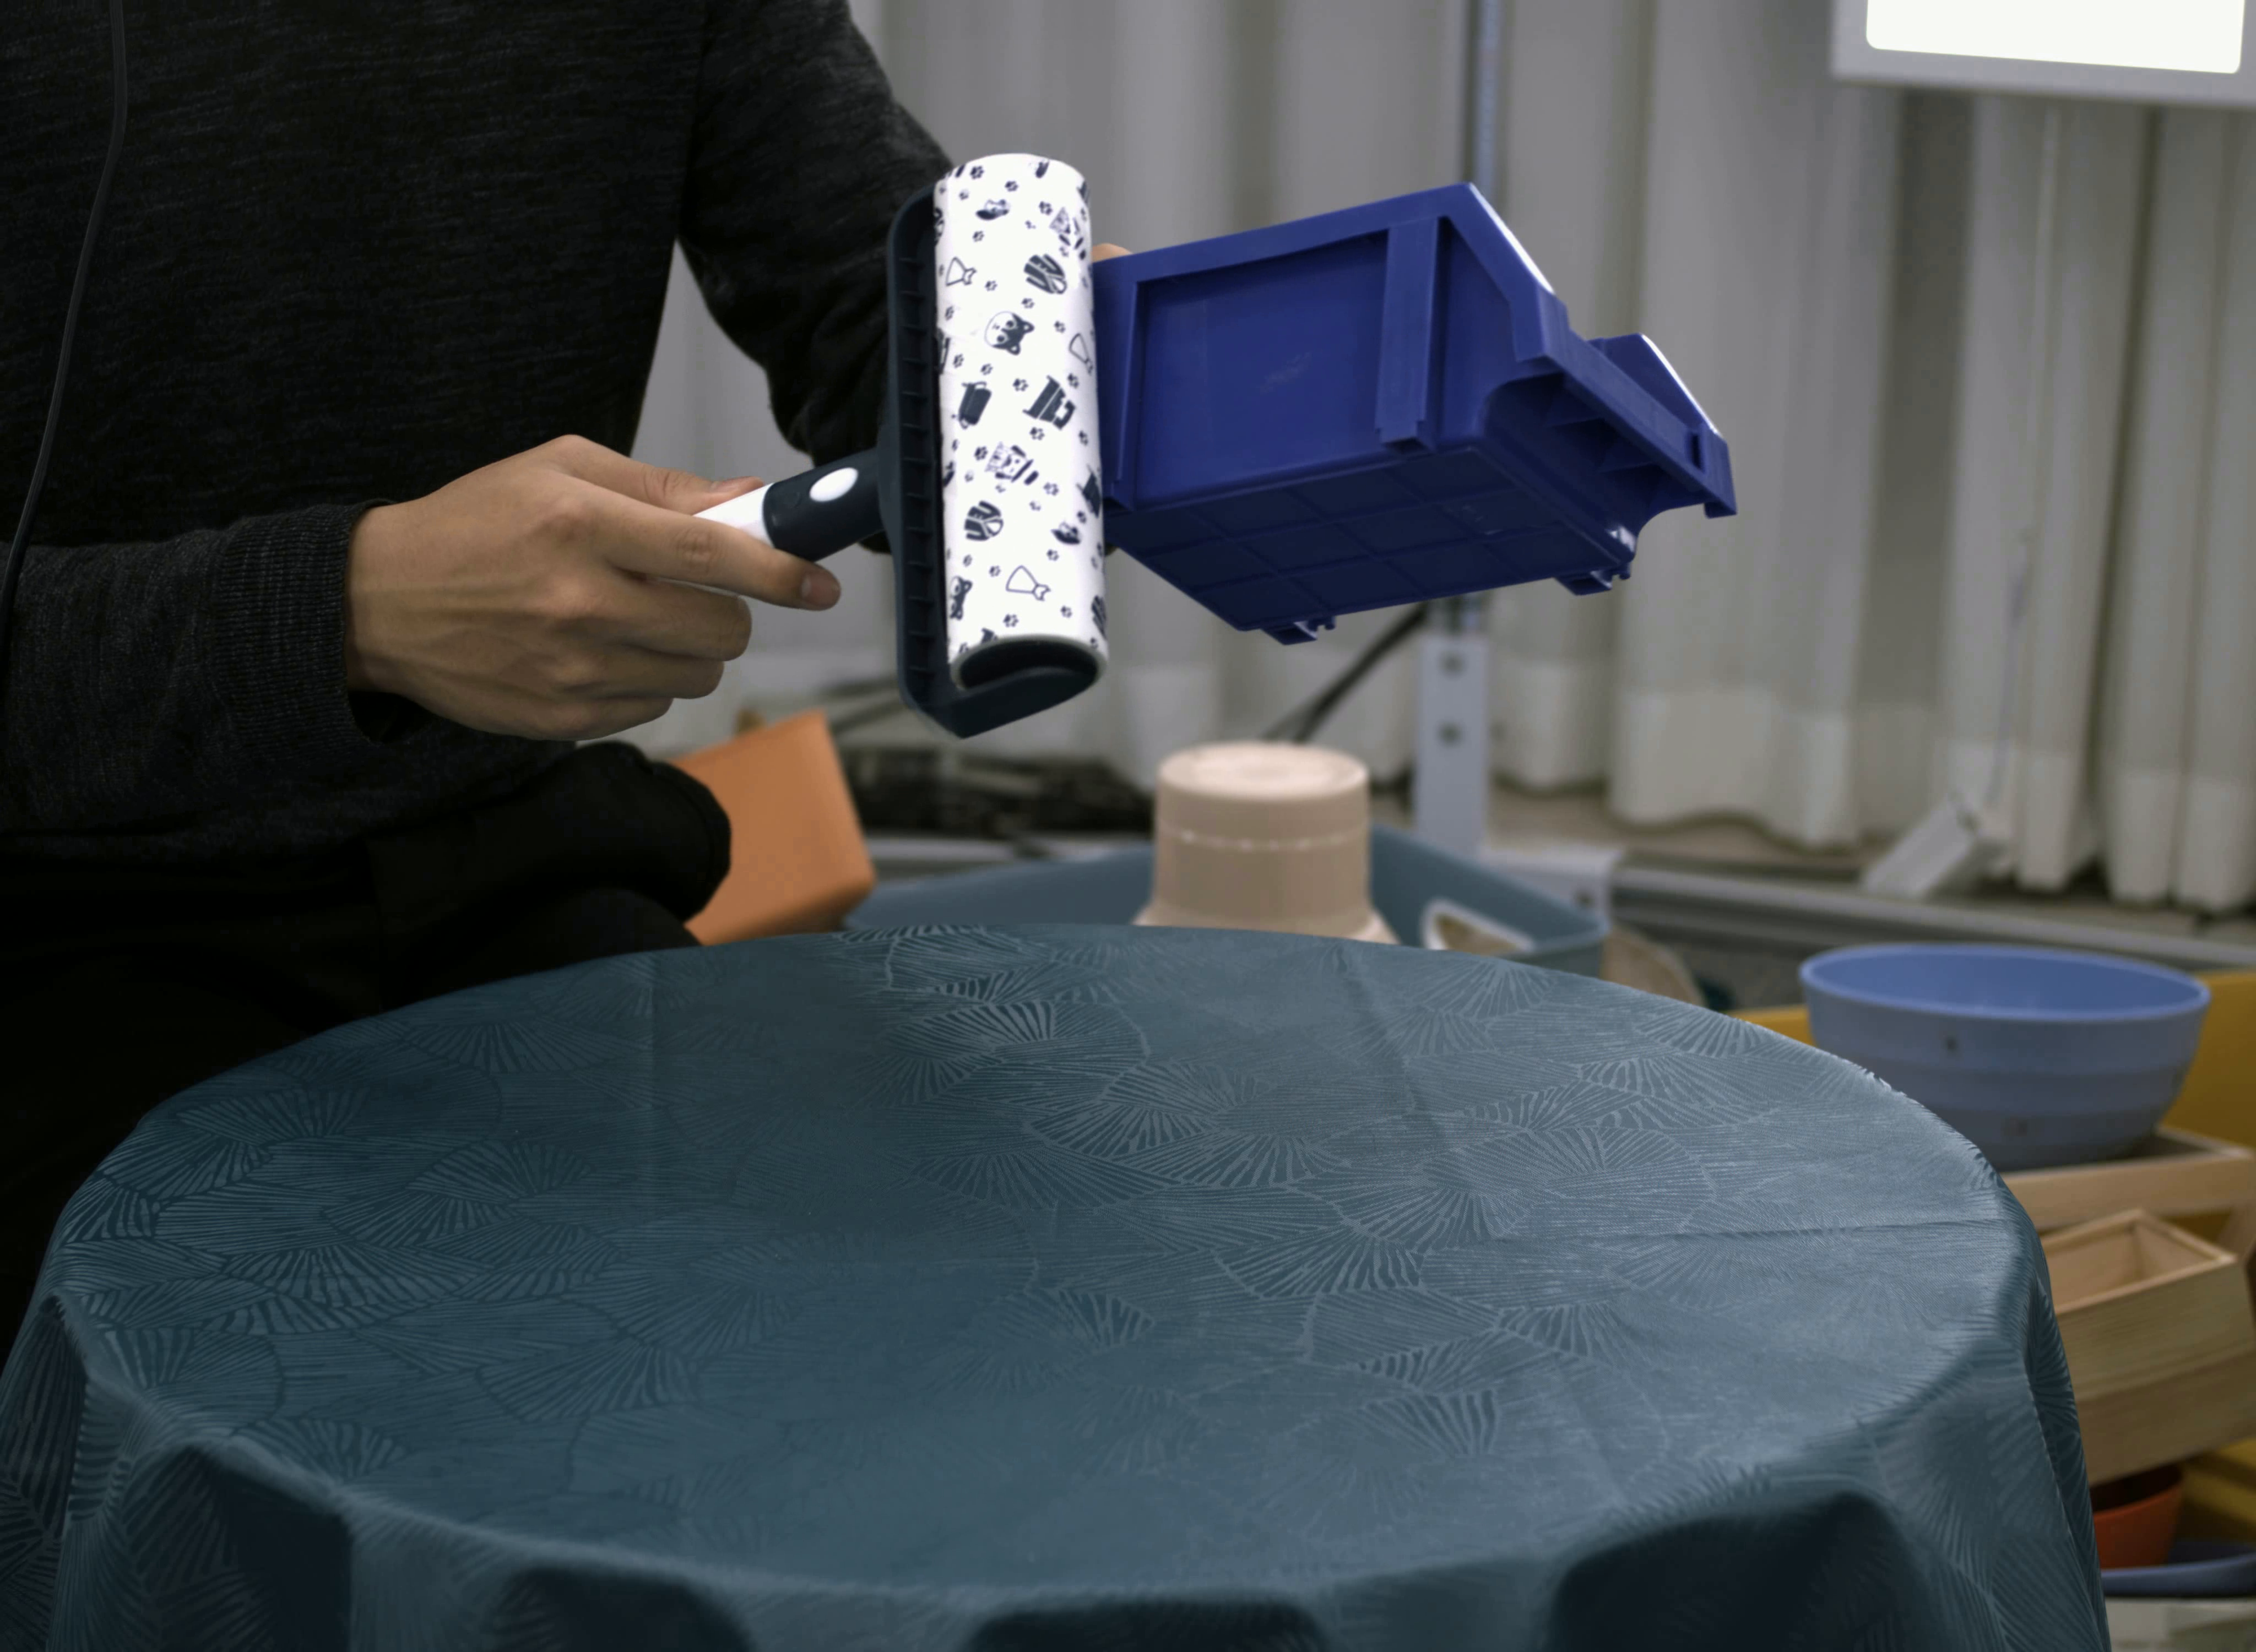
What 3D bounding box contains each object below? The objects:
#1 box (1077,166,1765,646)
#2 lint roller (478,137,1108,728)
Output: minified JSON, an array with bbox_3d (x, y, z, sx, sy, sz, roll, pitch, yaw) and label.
[{"bbox_3d":[0.085,-0.124,1.577,0.178,0.081,0.126,-12,-26,31],"label":"box"},{"bbox_3d":[-0.110,-0.090,1.598,0.245,0.175,0.051,-19,-28,32],"label":"lint roller"}]
